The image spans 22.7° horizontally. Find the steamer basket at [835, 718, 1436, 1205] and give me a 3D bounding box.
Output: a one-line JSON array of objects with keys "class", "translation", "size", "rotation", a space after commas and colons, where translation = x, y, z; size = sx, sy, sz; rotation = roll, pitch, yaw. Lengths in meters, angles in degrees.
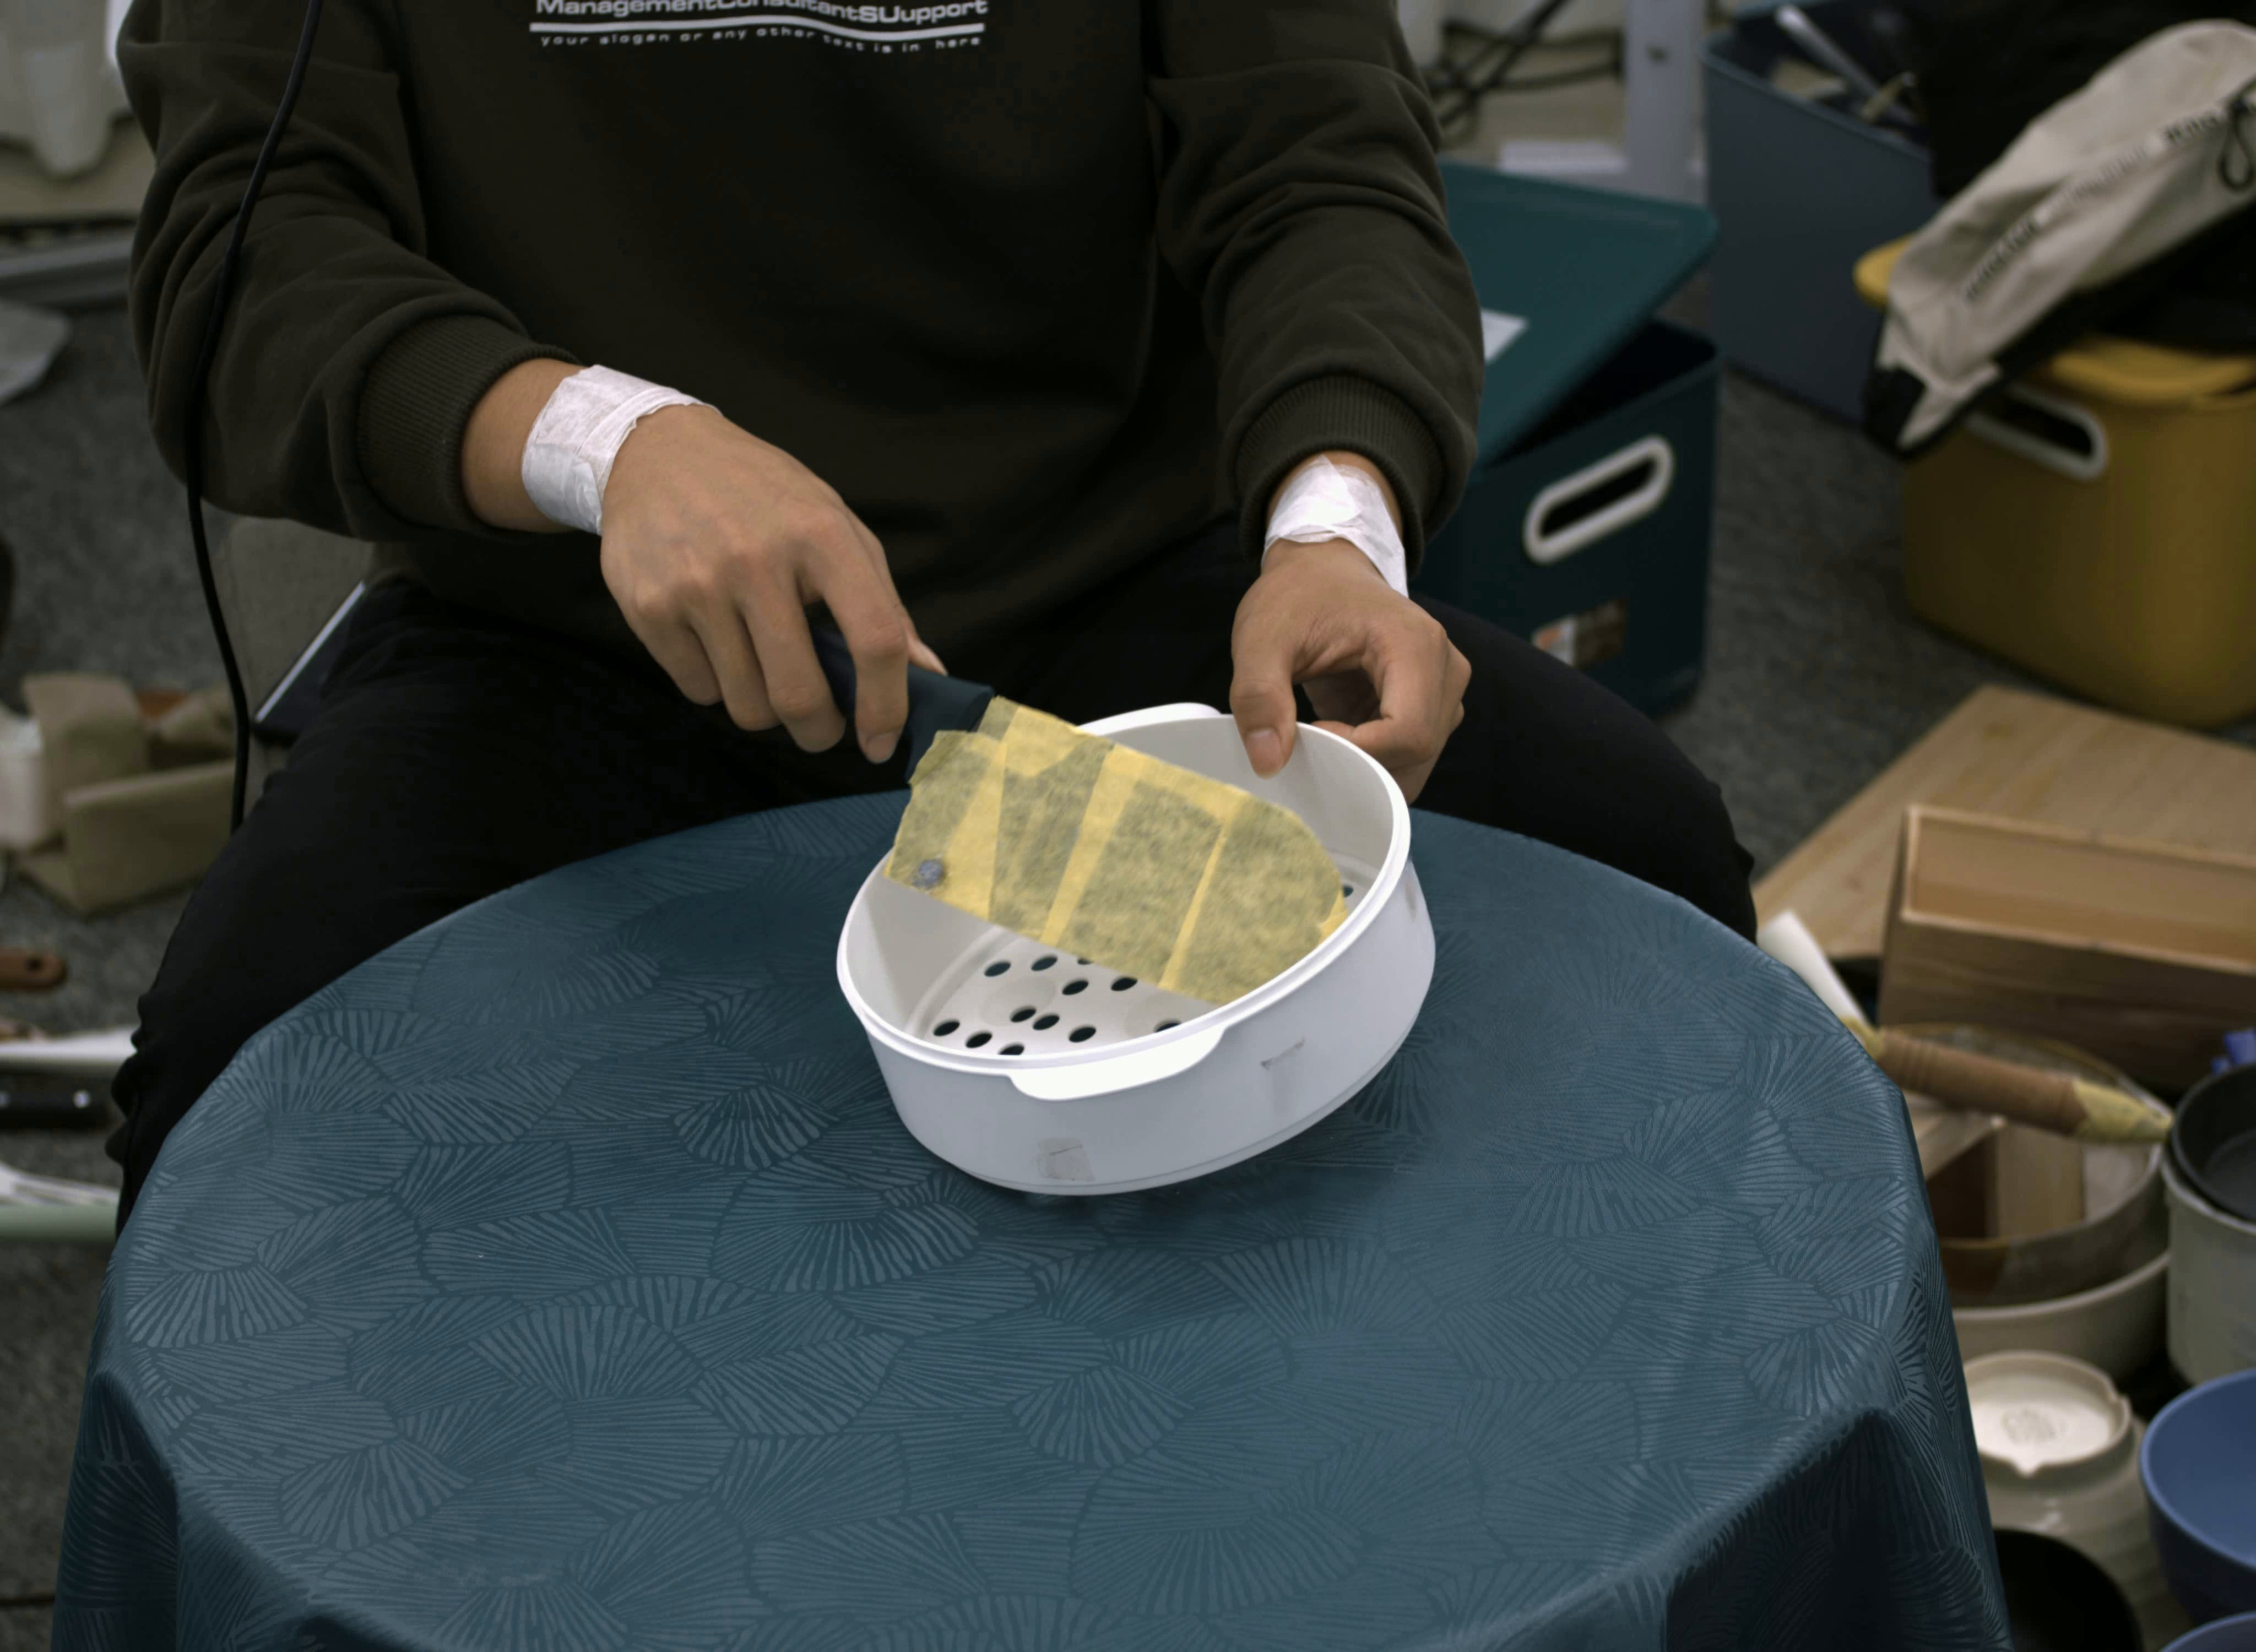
[{"class": "steamer basket", "translation": [0.005, 0.048, 1.898], "size": [0.200, 0.068, 0.234], "rotation": [-12, 30, 9]}]

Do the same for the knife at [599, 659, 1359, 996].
[{"class": "knife", "translation": [-0.054, 0.000, 1.908], "size": [0.288, 0.082, 0.027], "rotation": [18, -10, 16]}]
